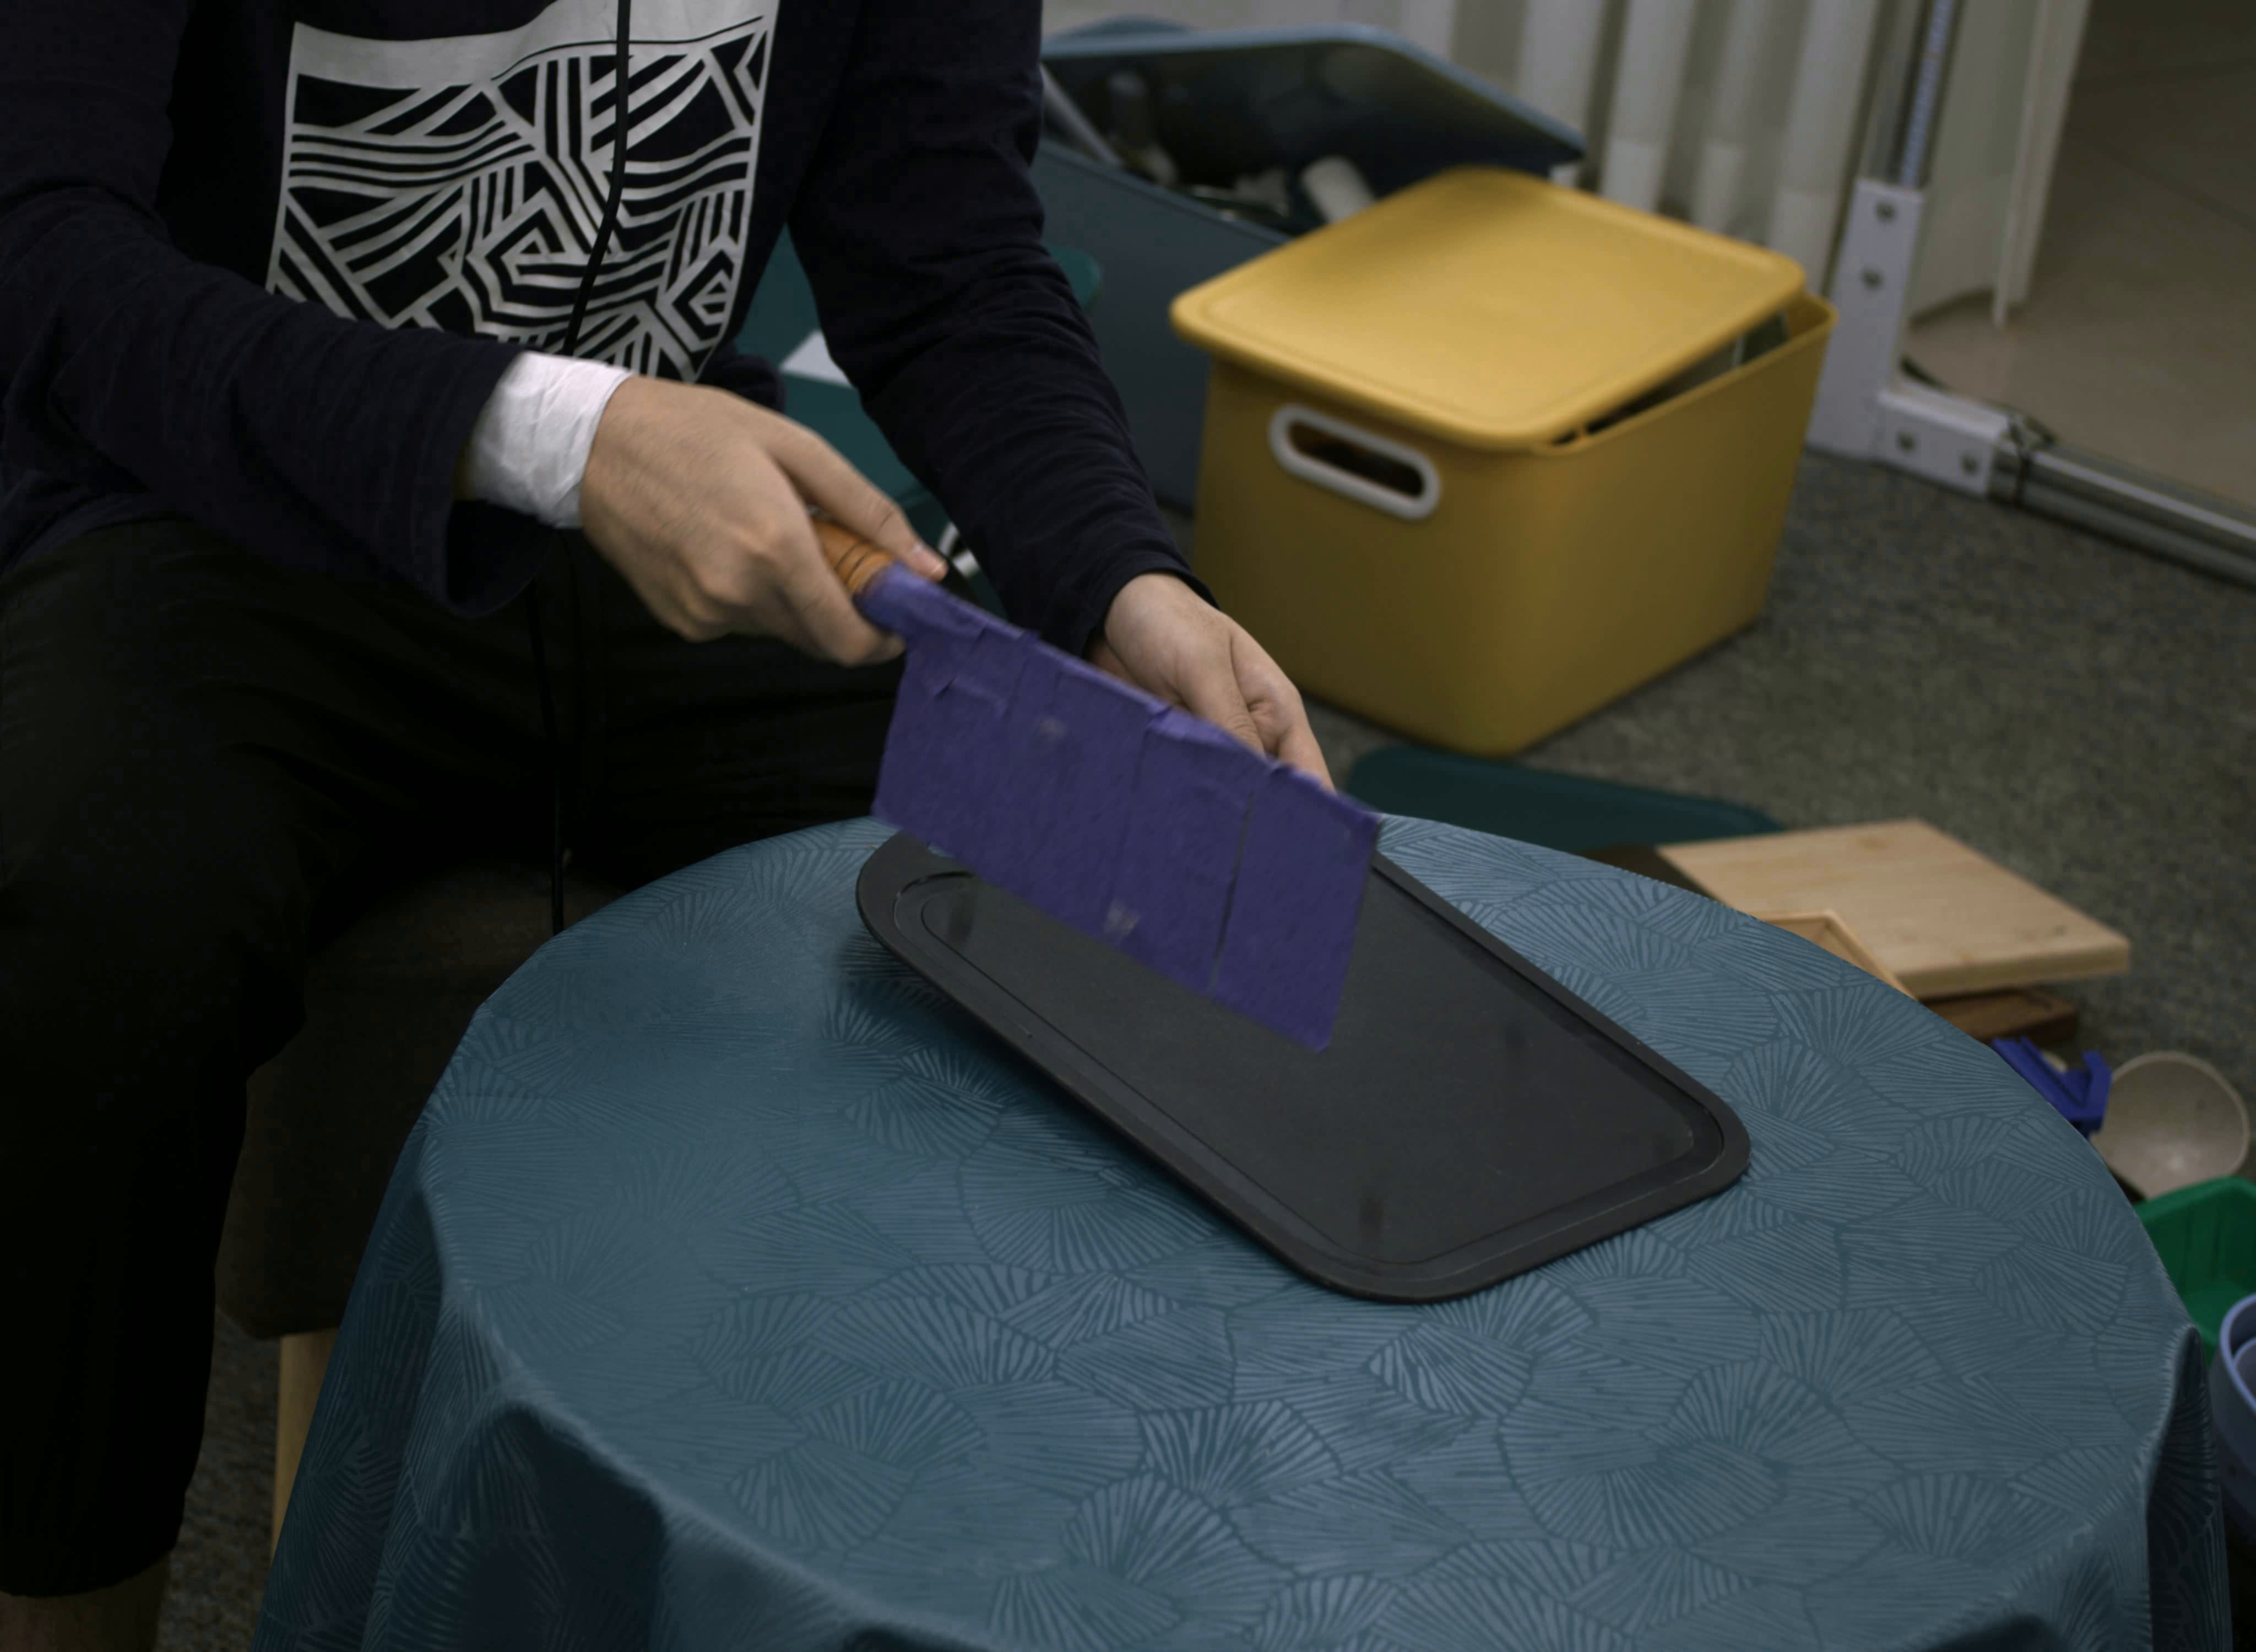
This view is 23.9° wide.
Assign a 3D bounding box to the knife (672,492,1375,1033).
[{"bbox_3d":[-0.047,-0.021,1.839,0.317,0.104,0.032,27,22,35],"label":"knife"}]

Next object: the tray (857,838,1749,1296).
[{"bbox_3d":[0.054,0.063,1.901,0.210,0.010,0.328,-17,39,-38],"label":"tray"}]
